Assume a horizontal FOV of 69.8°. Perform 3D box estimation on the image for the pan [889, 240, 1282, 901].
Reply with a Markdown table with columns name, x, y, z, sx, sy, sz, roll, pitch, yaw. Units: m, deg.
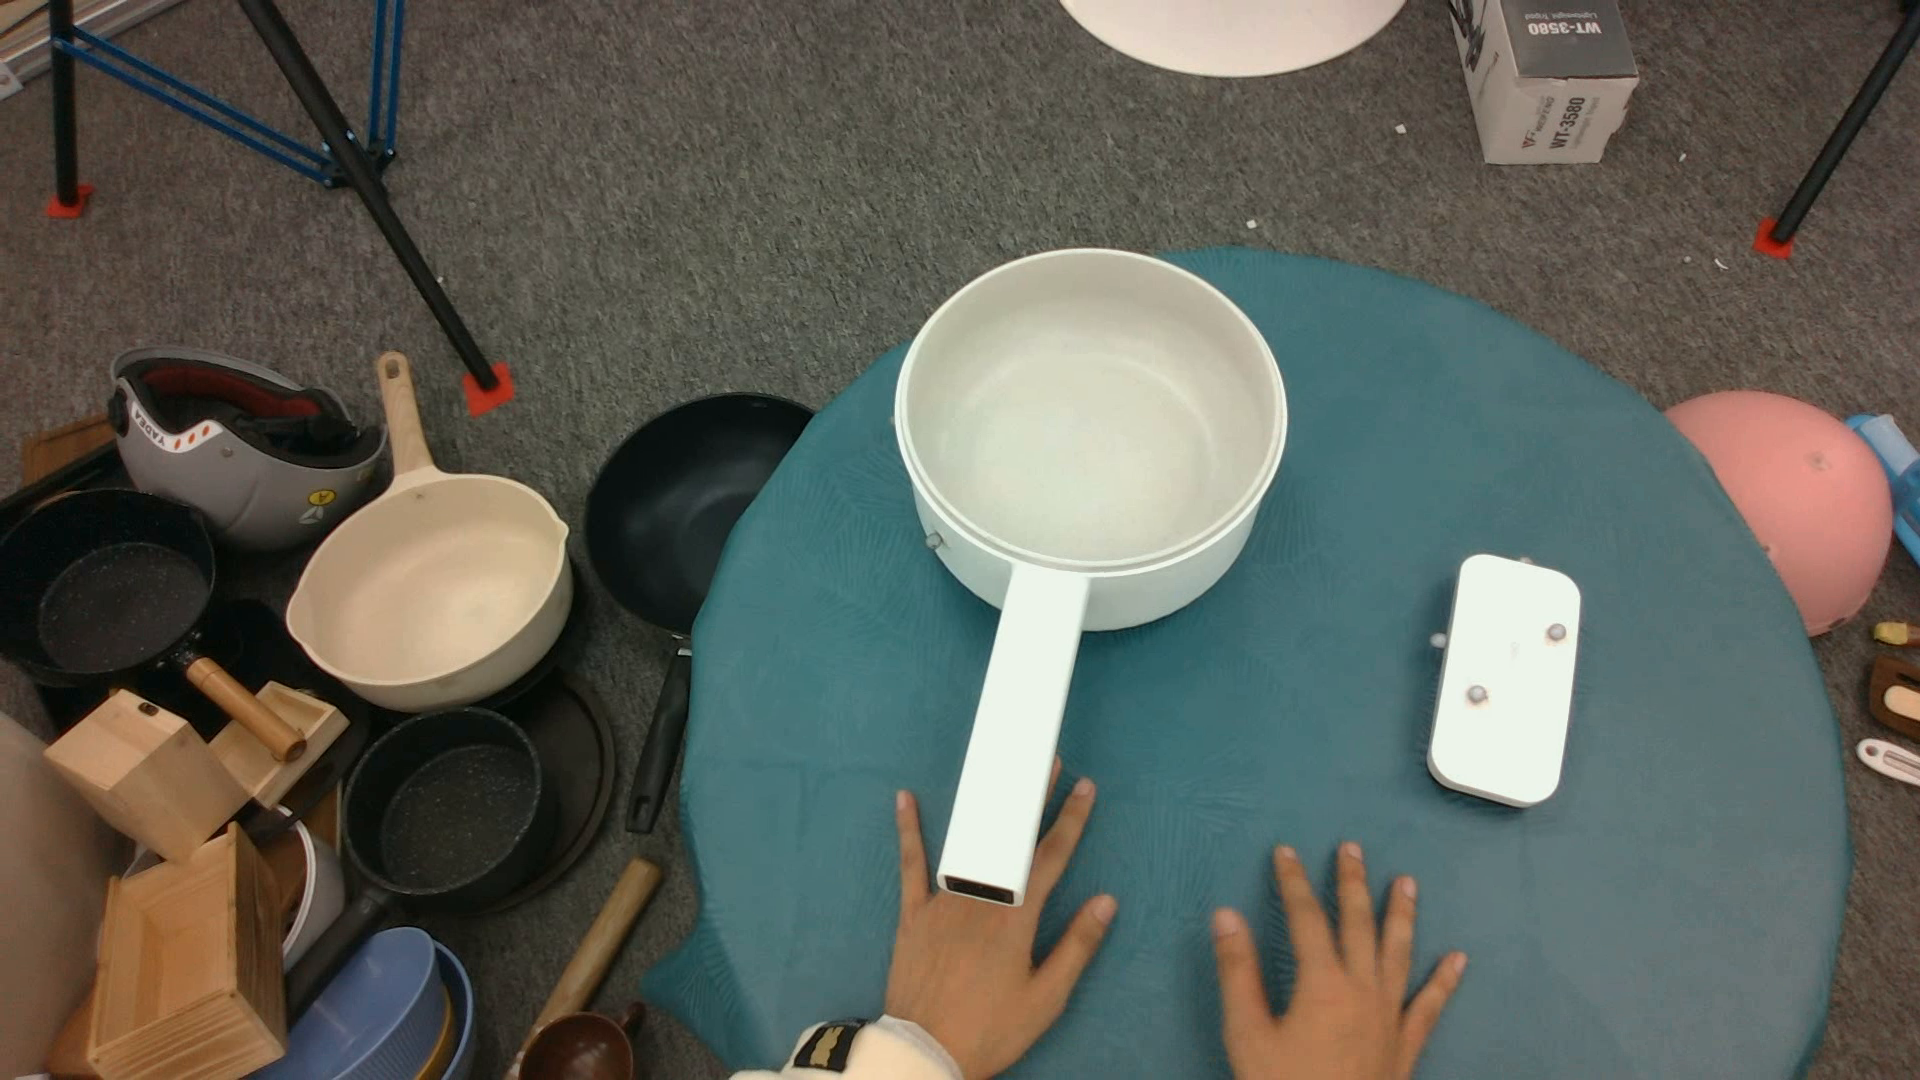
| name | x | y | z | sx | sy | sz | roll | pitch | yaw |
| --- | --- | --- | --- | --- | --- | --- | --- | --- | --- |
| pan | 0.049 | 0.014 | 0.713 | 0.201 | 0.102 | 0.356 | 10 | 65 | 9 |

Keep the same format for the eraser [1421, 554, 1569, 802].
| name | x | y | z | sx | sy | sz | roll | pitch | yaw |
| --- | --- | --- | --- | --- | --- | --- | --- | --- | --- |
| eraser | 0.275 | 0.069 | 0.712 | 0.063 | 0.034 | 0.132 | 13 | 62 | 13 |
